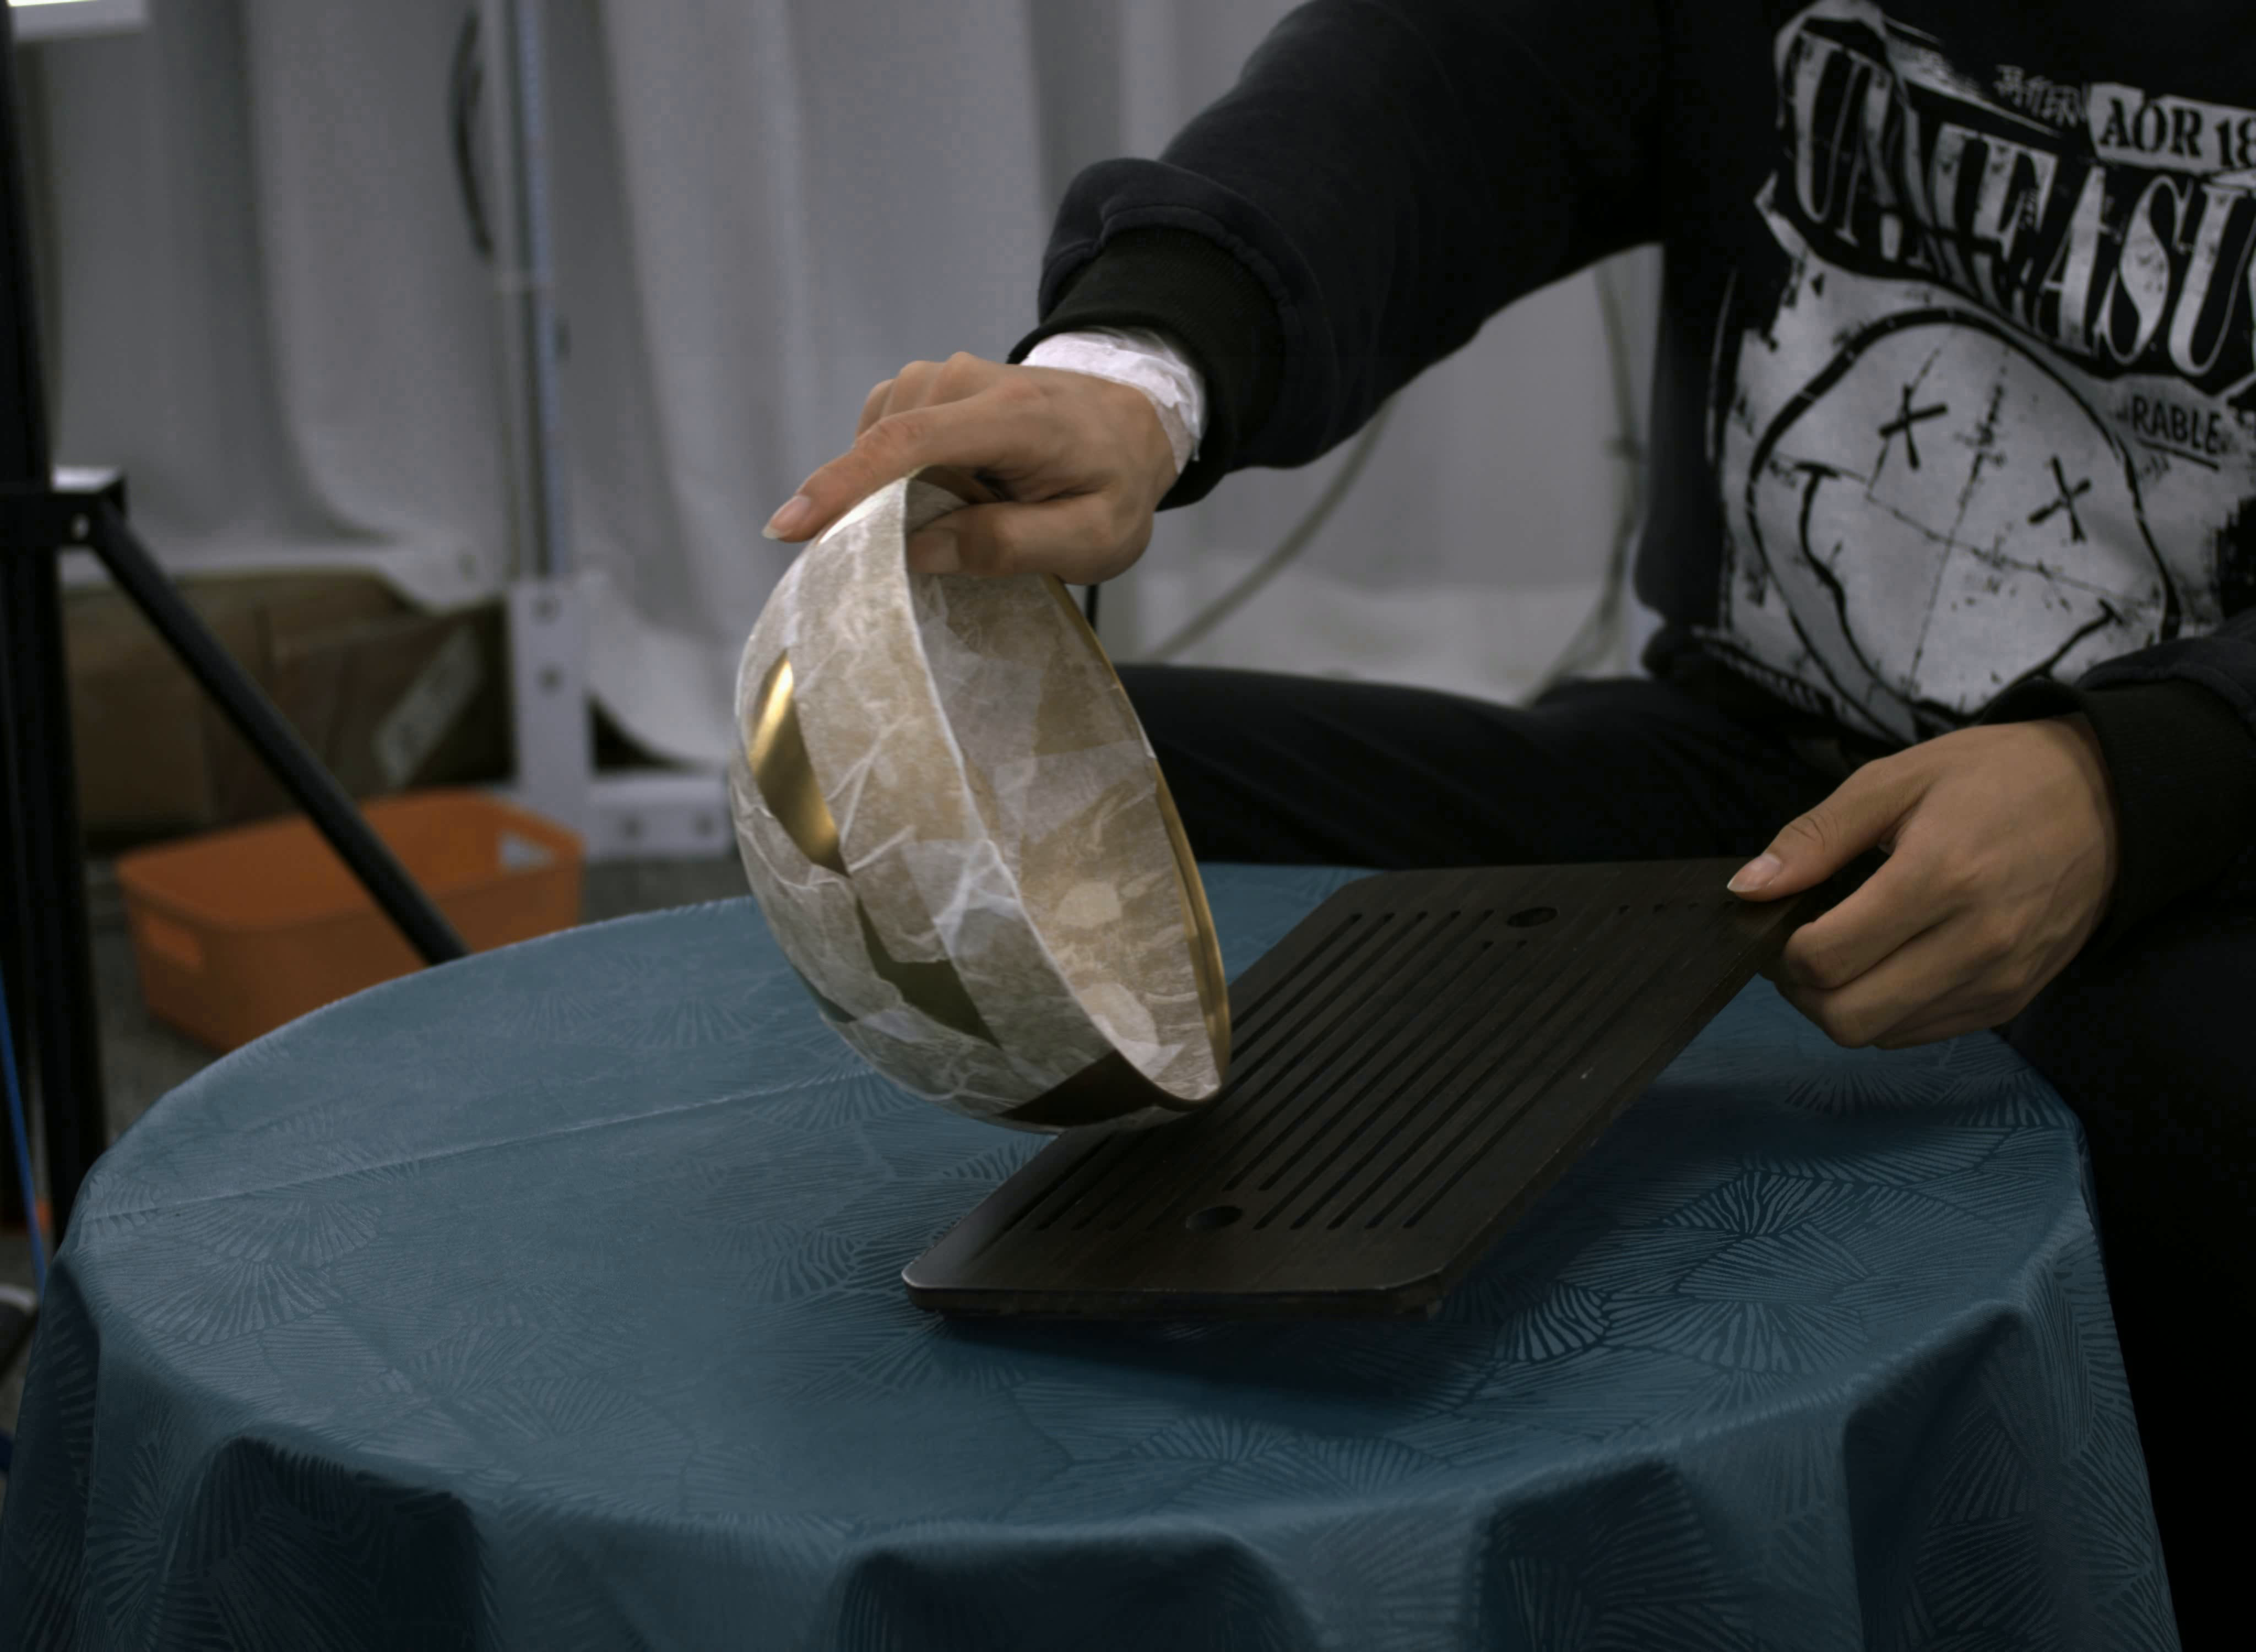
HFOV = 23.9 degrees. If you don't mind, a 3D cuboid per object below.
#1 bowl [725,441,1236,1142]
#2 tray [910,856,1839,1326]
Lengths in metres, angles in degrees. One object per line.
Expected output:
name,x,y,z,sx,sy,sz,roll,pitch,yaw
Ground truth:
bowl,-0.053,0.006,1.518,0.095,0.214,0.214,-25,10,15
tray,0.079,0.075,1.529,0.173,0.018,0.301,-3,20,32
